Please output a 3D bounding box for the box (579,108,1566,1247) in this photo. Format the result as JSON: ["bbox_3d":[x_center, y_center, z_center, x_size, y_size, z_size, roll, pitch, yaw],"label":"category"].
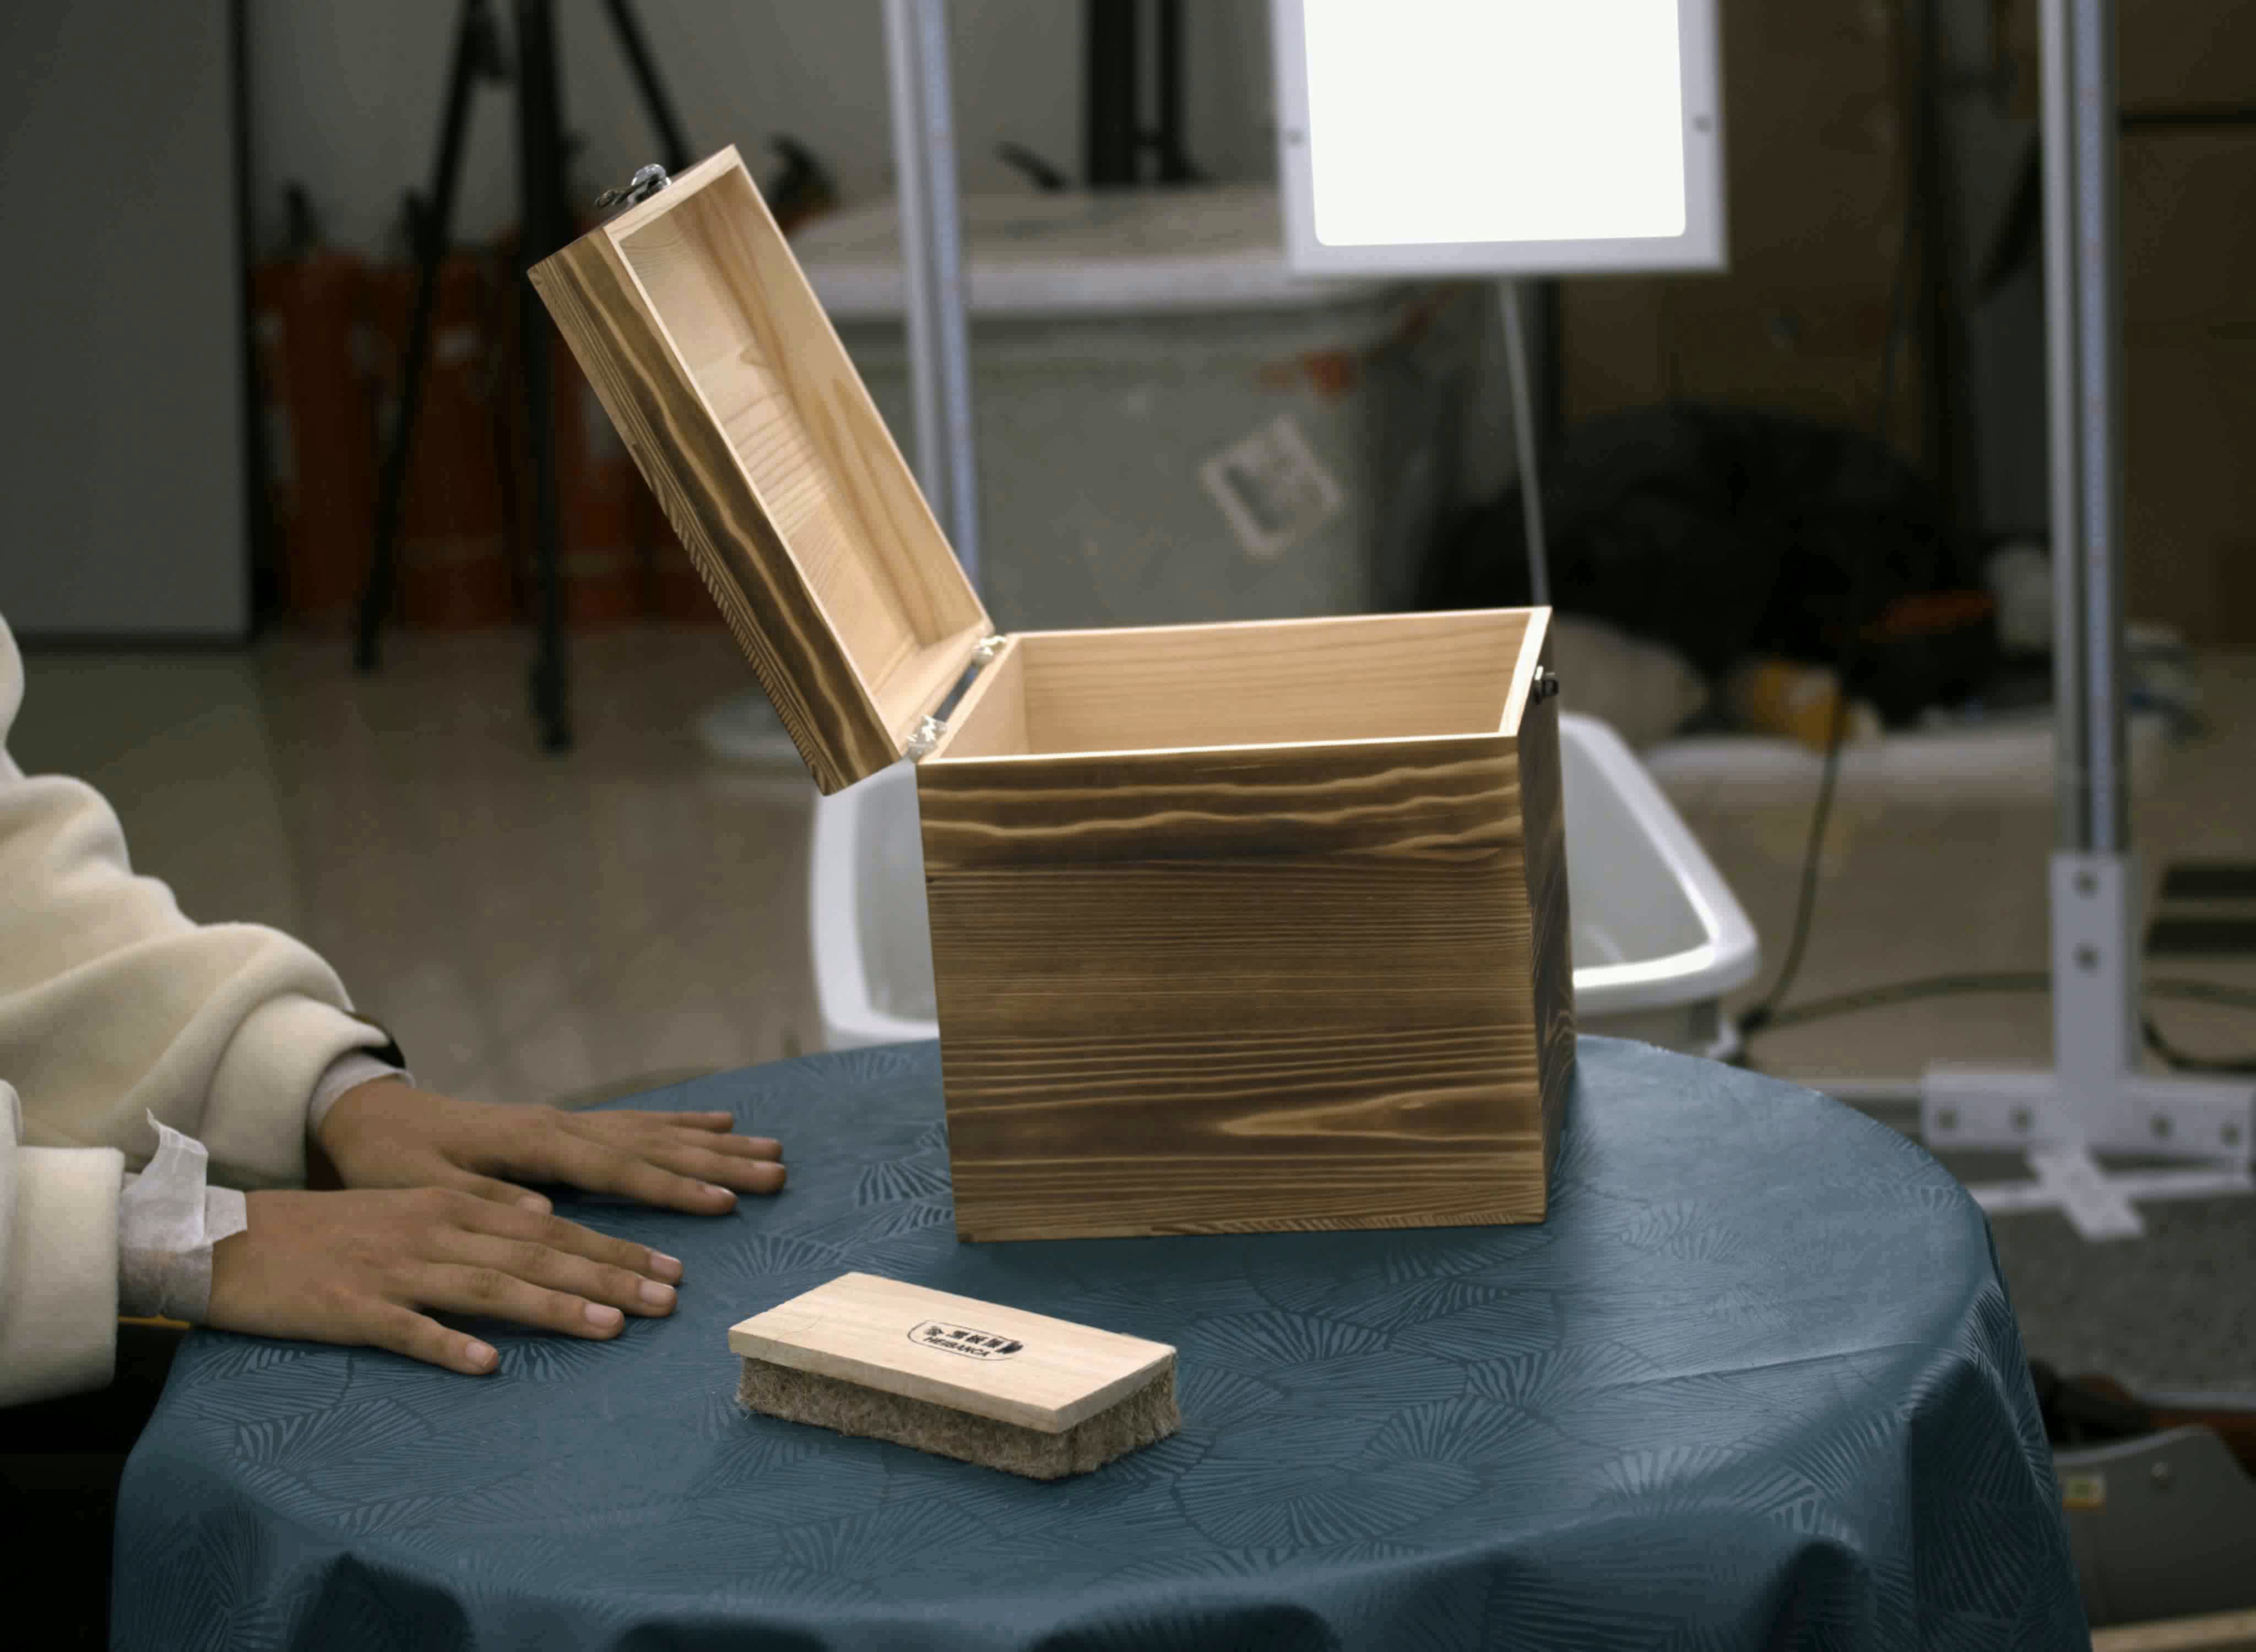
[{"bbox_3d":[-0.010,-0.060,1.899,0.324,0.377,0.207,-2,15,9],"label":"box"}]

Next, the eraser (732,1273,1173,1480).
[{"bbox_3d":[-0.054,0.169,1.685,0.142,0.029,0.055,8,21,45],"label":"eraser"}]
